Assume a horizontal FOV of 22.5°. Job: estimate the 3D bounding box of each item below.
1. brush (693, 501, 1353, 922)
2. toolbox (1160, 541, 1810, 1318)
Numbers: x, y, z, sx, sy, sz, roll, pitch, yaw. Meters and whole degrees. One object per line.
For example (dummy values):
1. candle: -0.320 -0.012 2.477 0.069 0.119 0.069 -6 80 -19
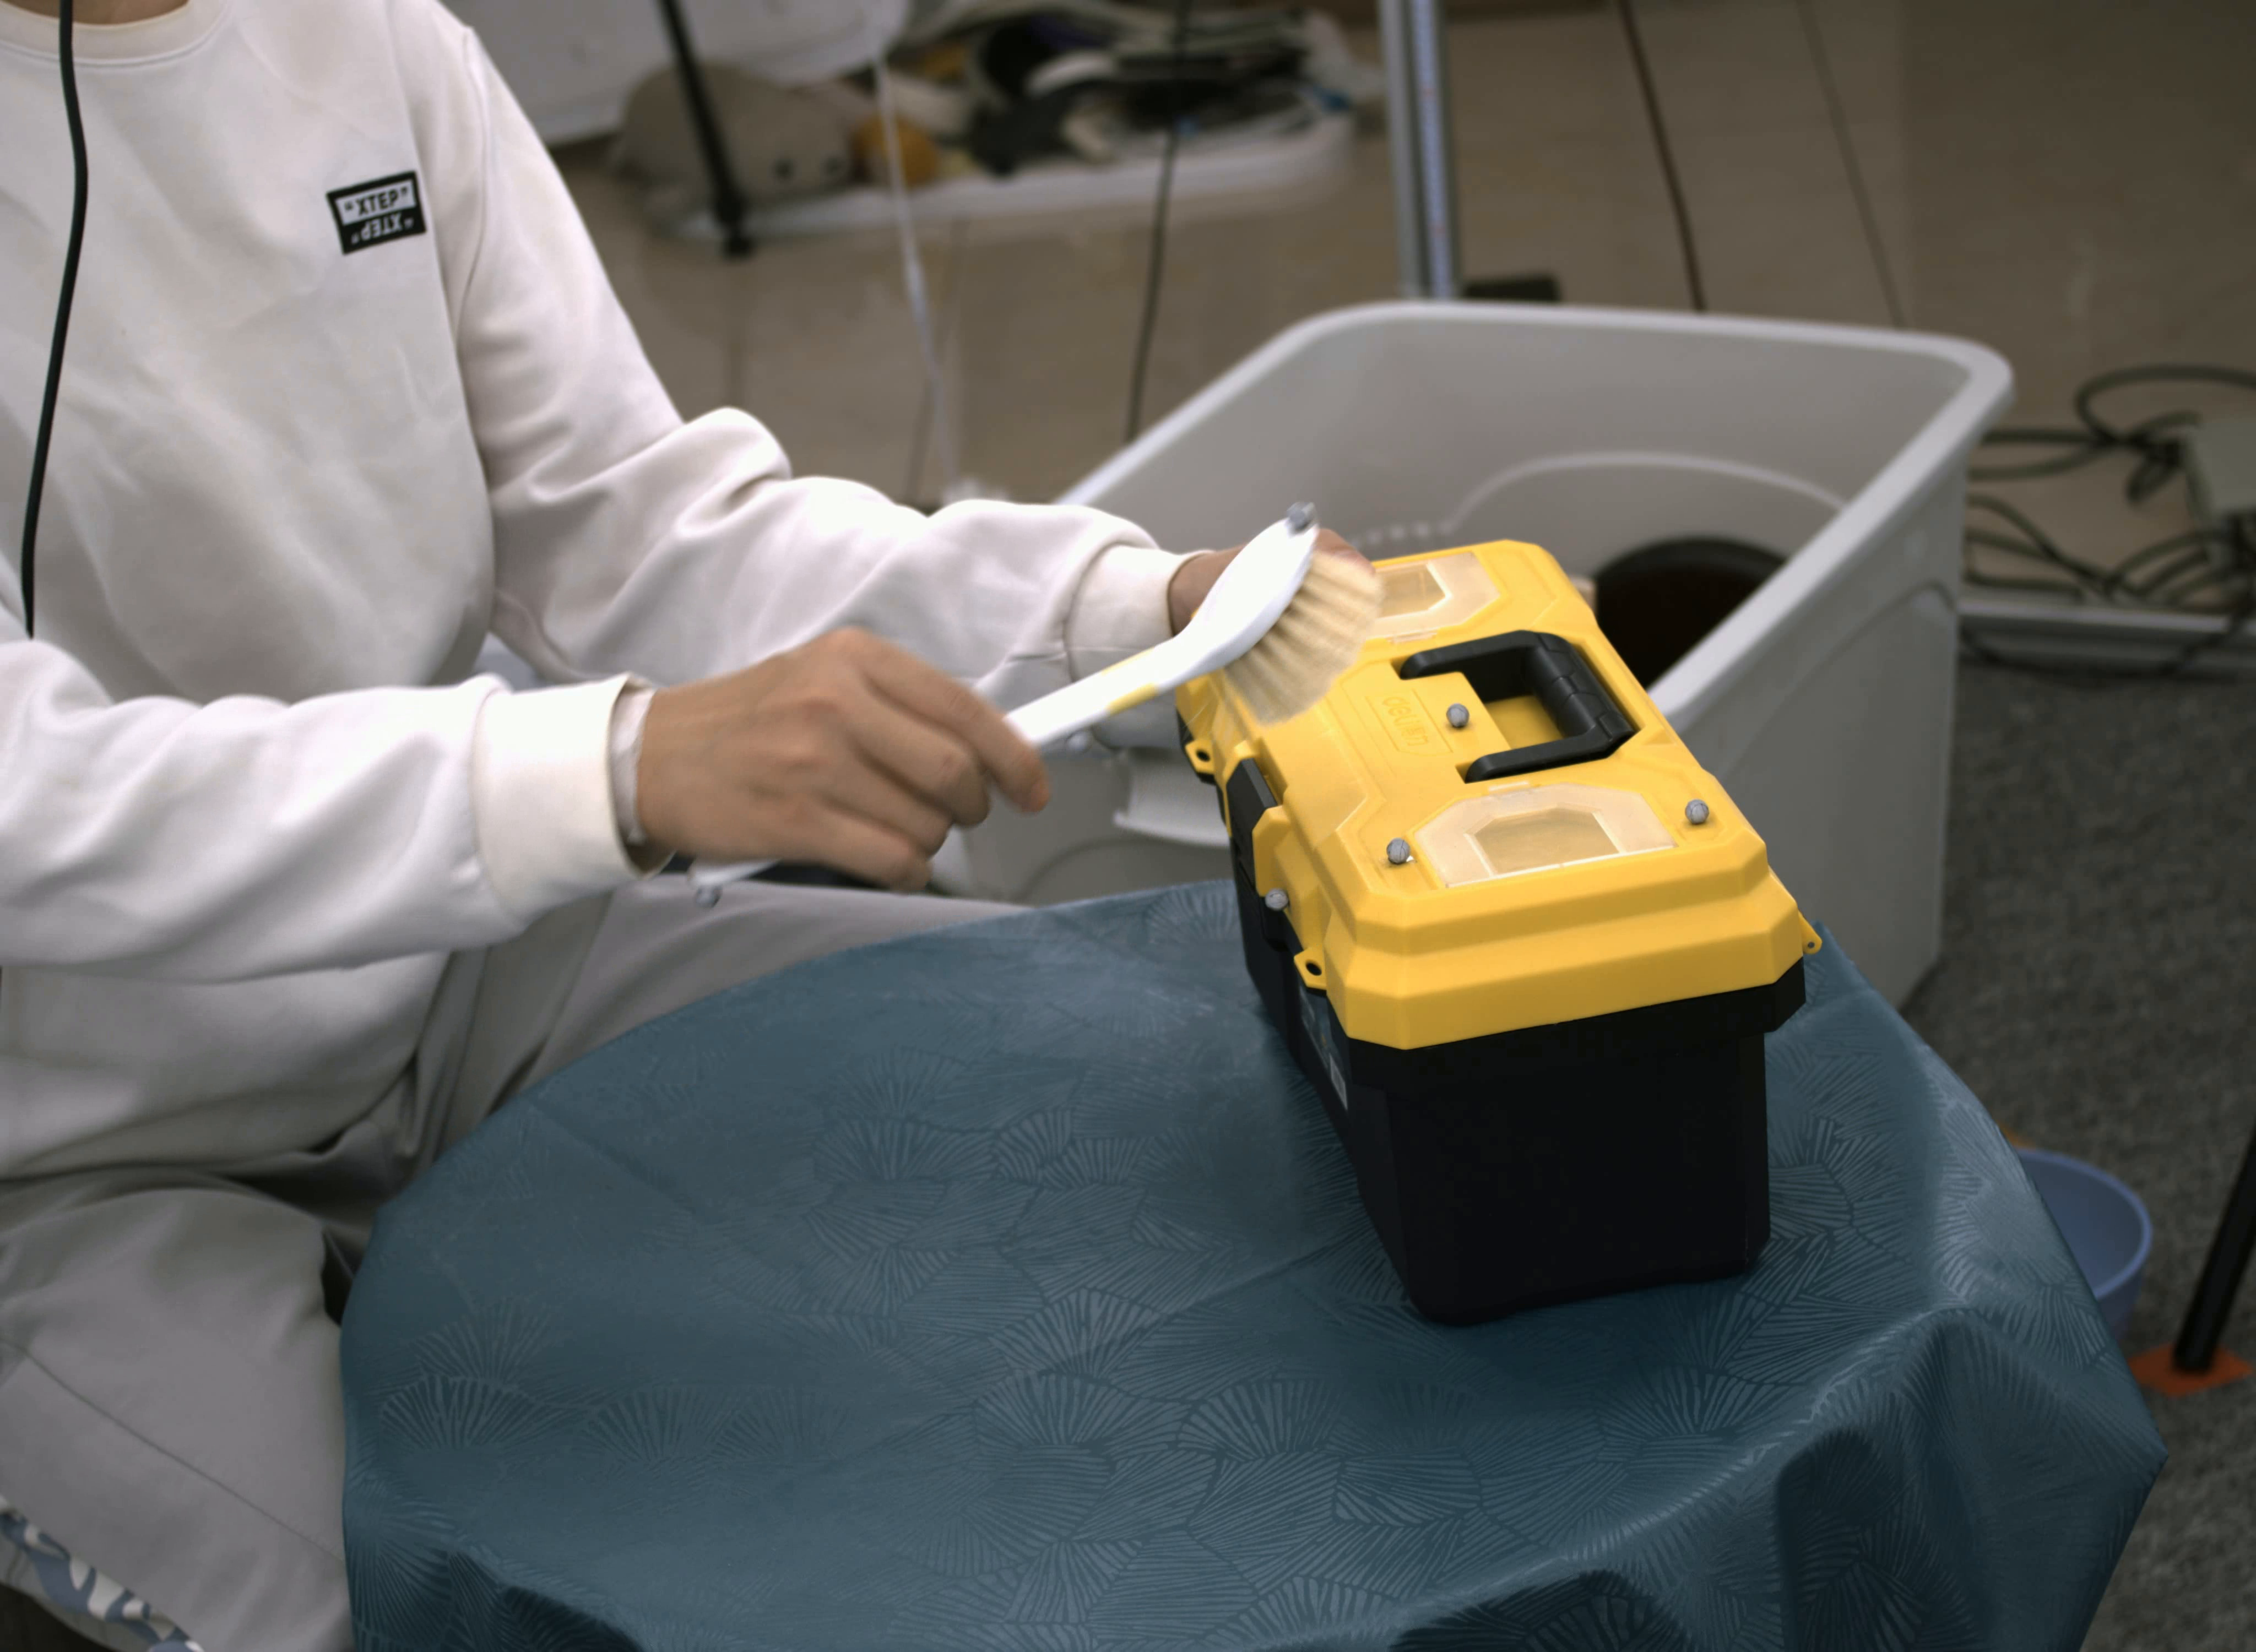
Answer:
1. brush: -0.033 -0.022 2.001 0.267 0.056 0.068 -34 9 13
2. toolbox: 0.130 0.033 2.134 0.181 0.175 0.346 -9 24 -7
